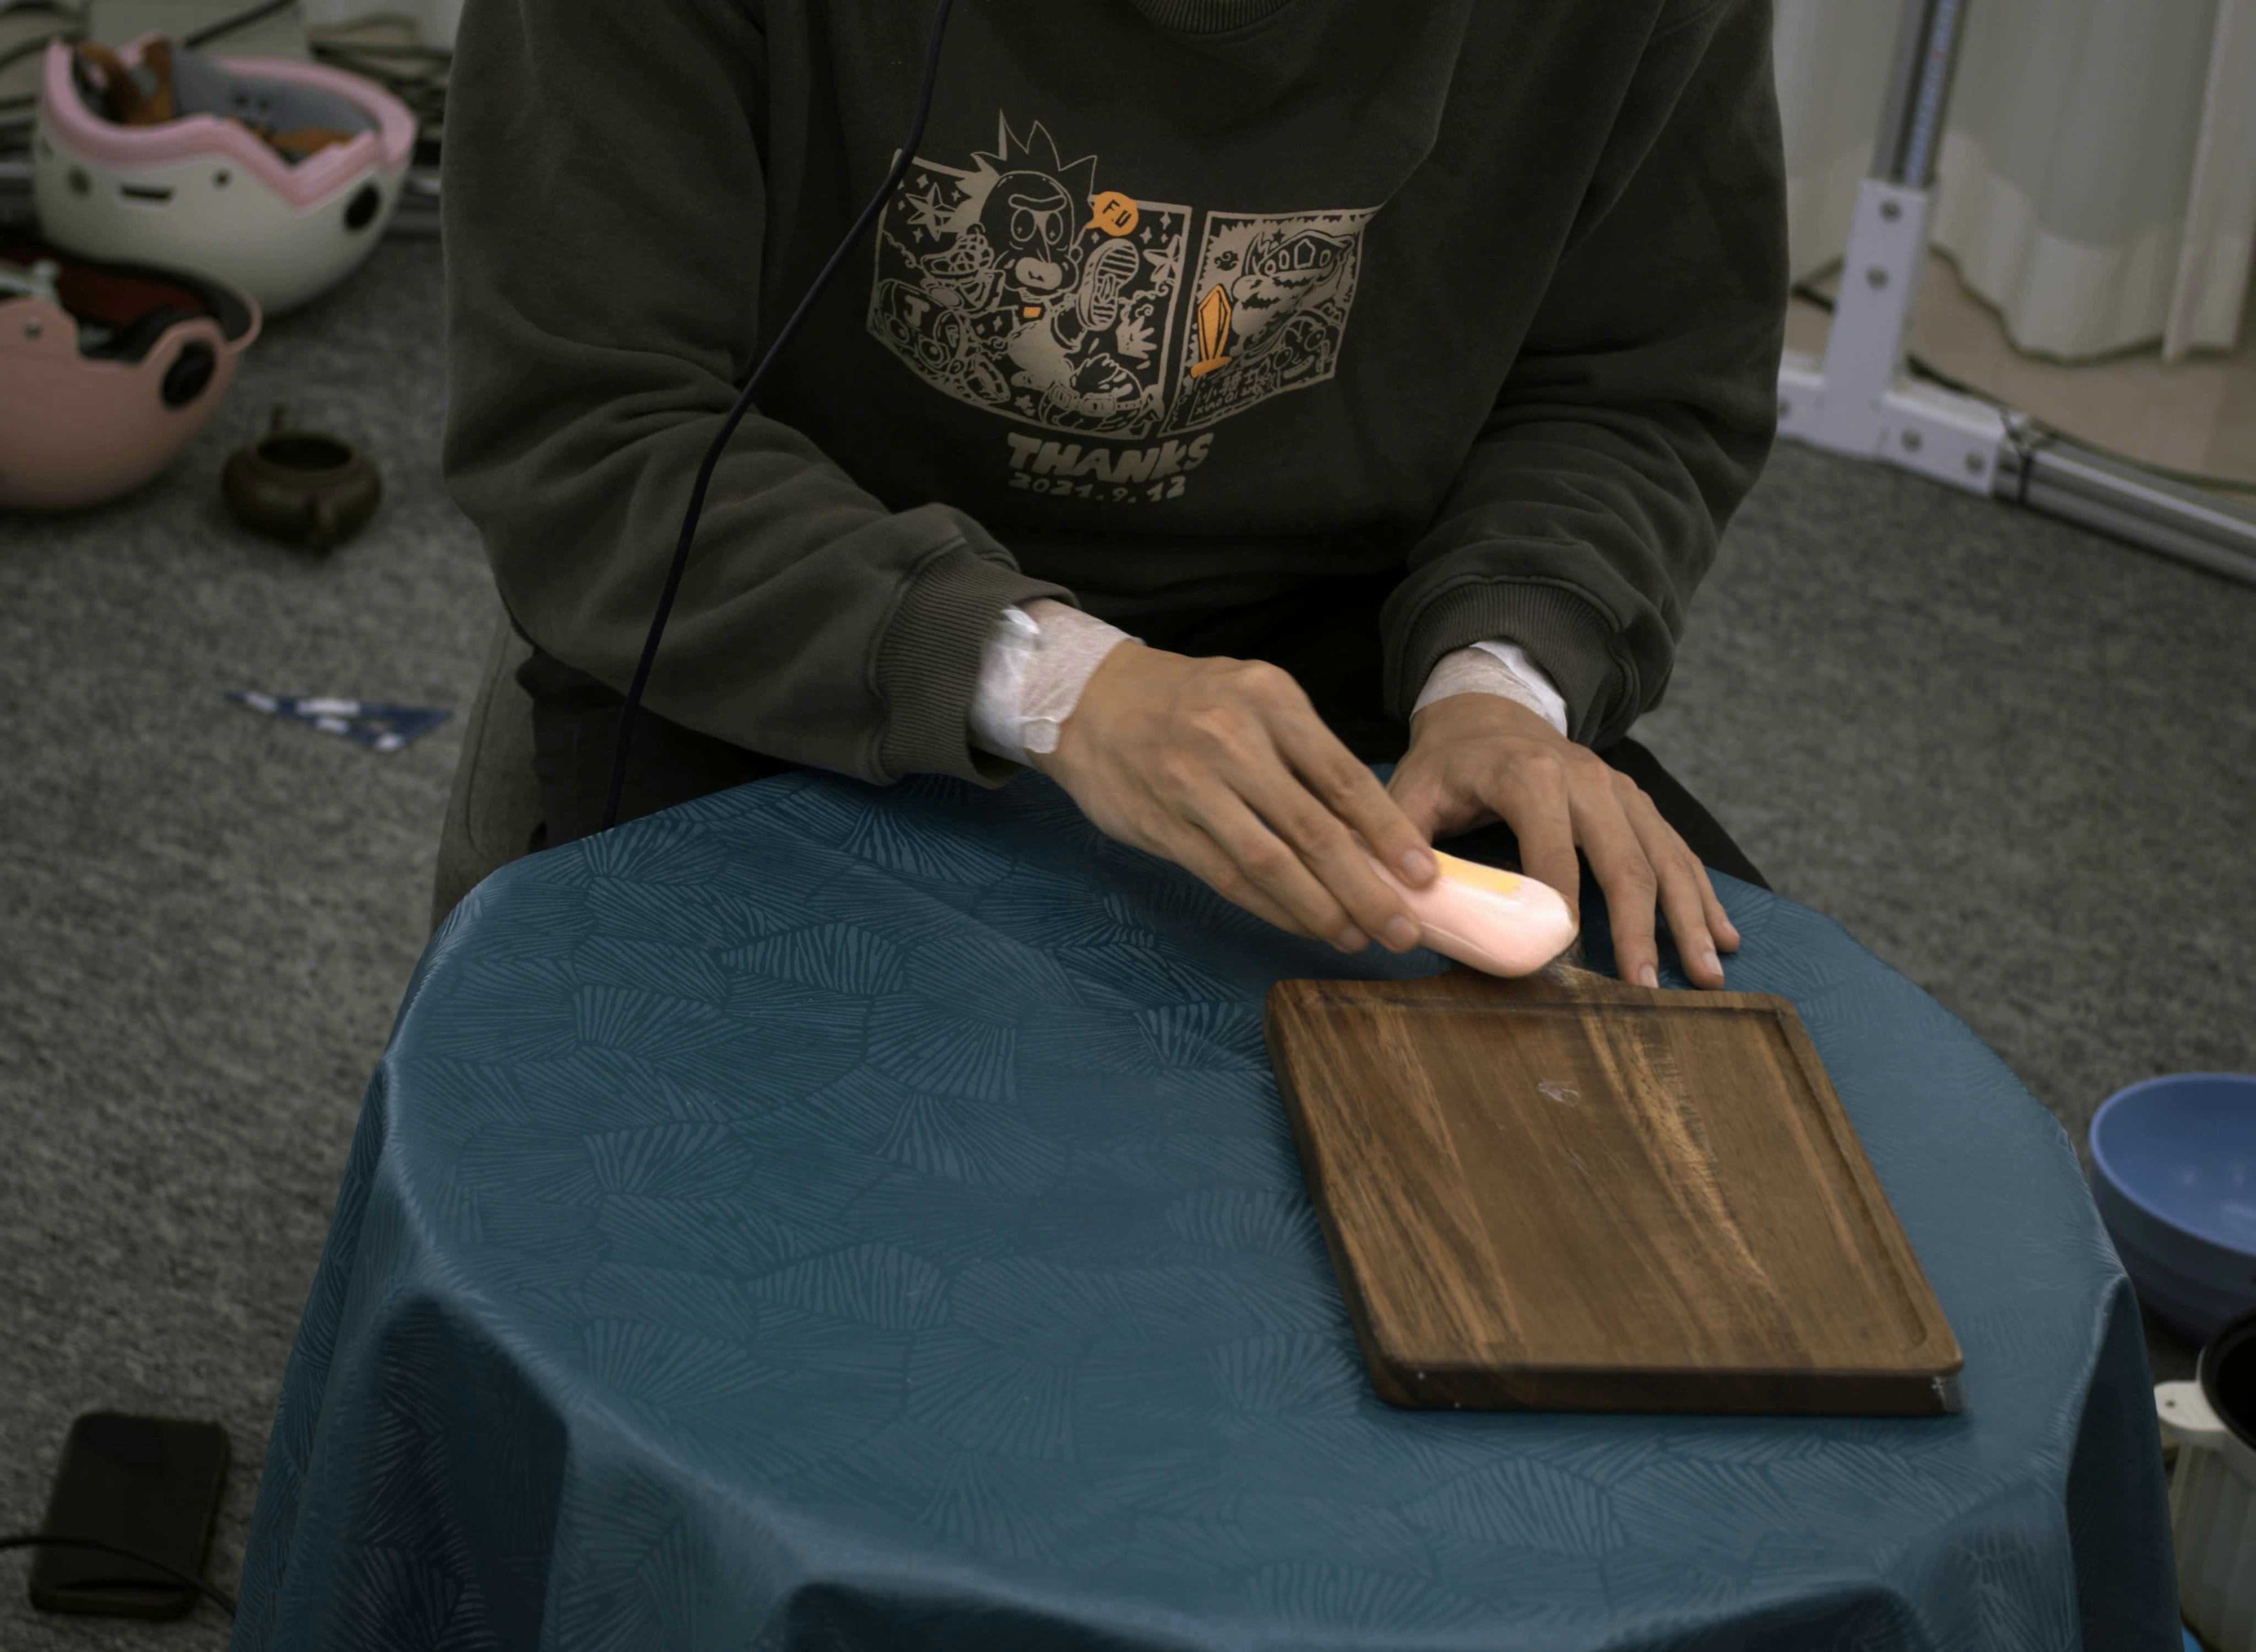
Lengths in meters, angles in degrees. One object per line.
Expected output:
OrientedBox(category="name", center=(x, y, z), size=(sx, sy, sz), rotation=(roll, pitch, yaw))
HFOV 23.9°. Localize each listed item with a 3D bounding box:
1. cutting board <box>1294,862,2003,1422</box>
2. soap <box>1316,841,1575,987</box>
OrientedBox(category="cutting board", center=(0.166, 0.103, 1.860), size=(0.200, 0.023, 0.355), rotation=(2, 27, -8))
OrientedBox(category="soap", center=(0.115, 0.032, 1.931), size=(0.094, 0.030, 0.050), rotation=(17, 28, 15))
